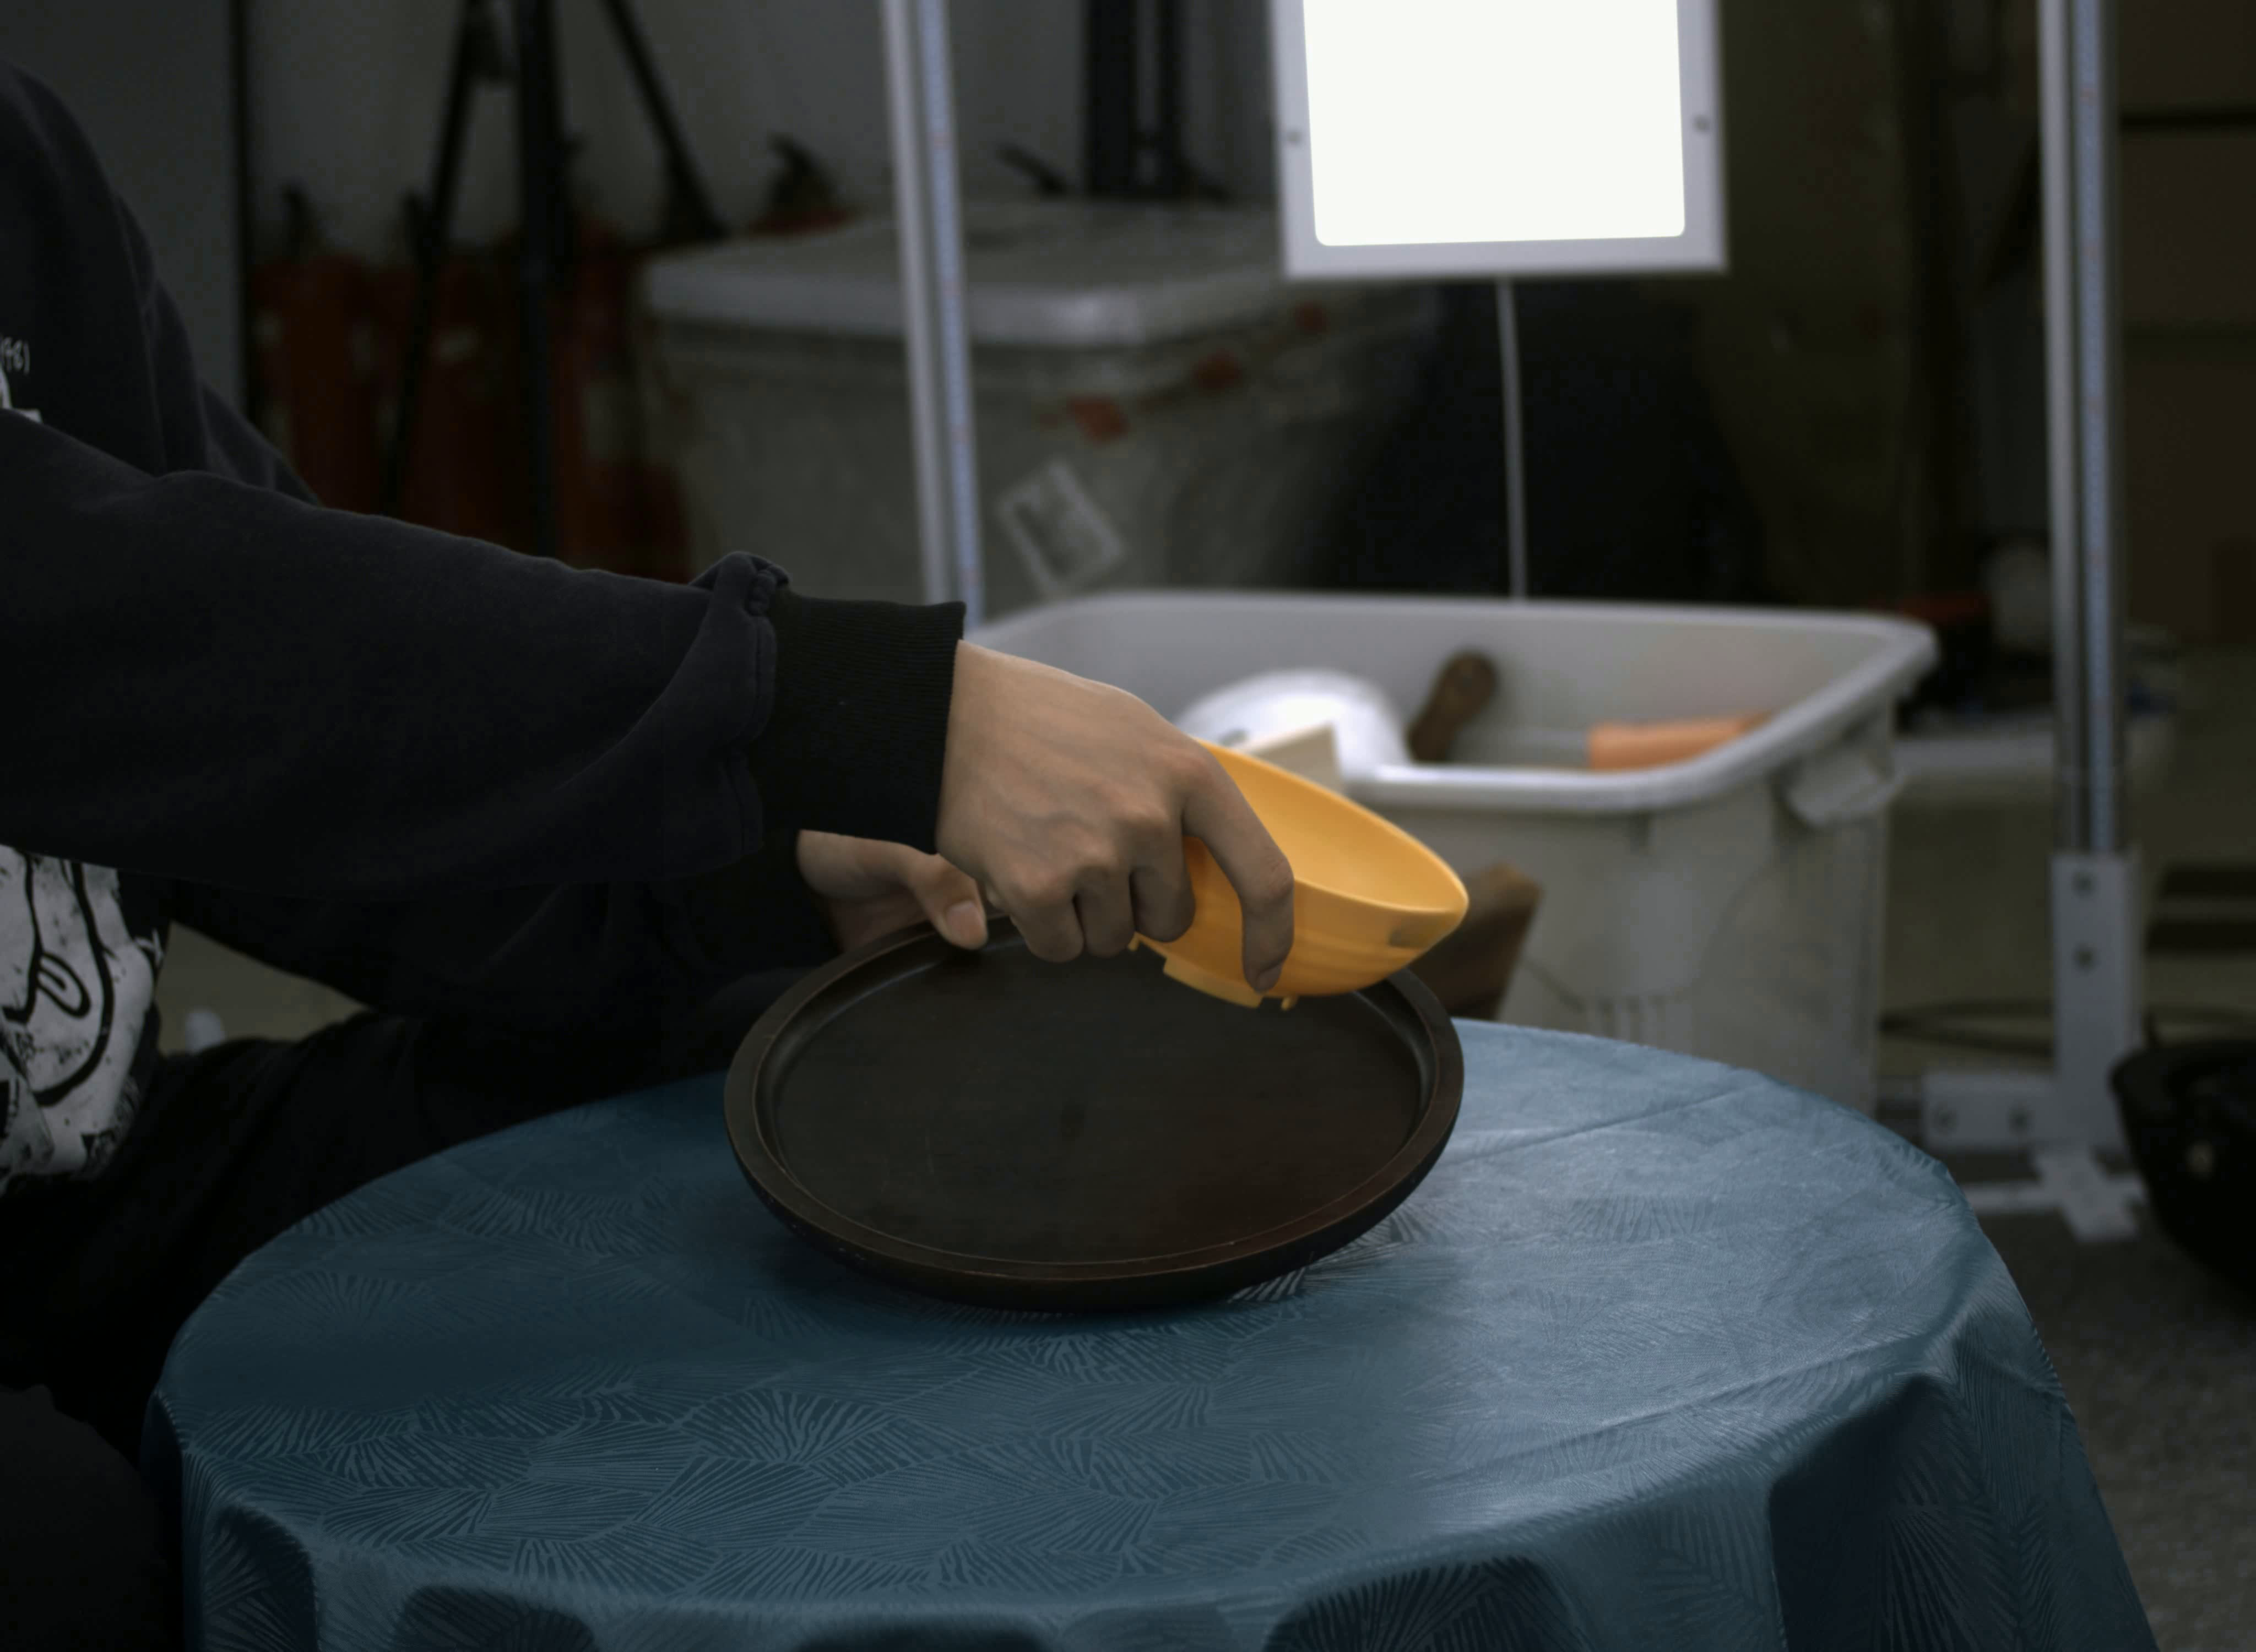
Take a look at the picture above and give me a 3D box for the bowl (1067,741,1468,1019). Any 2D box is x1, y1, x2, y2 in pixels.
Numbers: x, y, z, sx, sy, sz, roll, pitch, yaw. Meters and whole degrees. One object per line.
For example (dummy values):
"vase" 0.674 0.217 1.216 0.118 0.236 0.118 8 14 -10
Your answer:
"bowl" 0.038 0.025 1.864 0.144 0.060 0.145 20 12 -6

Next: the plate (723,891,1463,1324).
"plate" -0.011 0.093 1.872 0.254 0.029 0.254 -5 30 1
